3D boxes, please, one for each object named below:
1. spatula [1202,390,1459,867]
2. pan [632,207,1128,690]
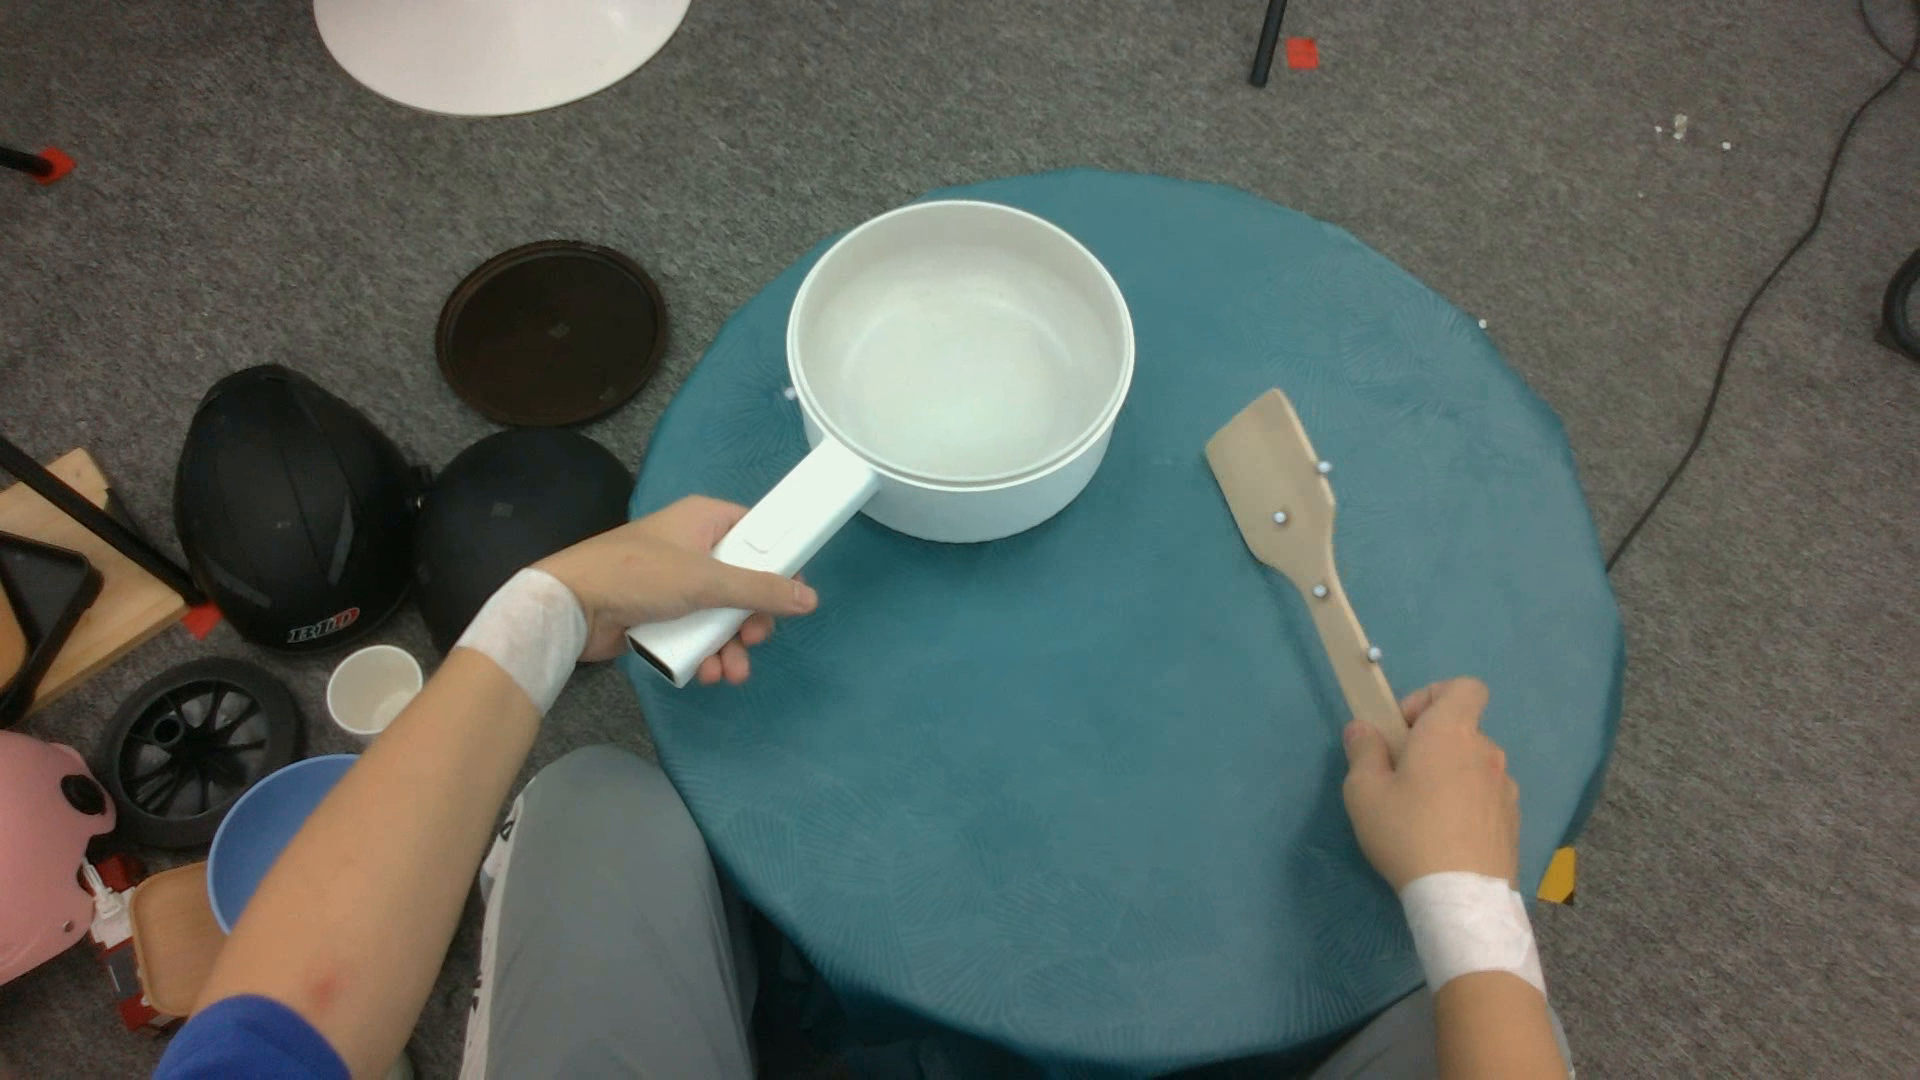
[{"bbox_3d":[0.216,0.048,0.799,0.011,0.072,0.294,-3,60,-32],"label":"spatula"},{"bbox_3d":[-0.050,-0.043,0.819,0.201,0.101,0.356,36,67,13],"label":"pan"}]
